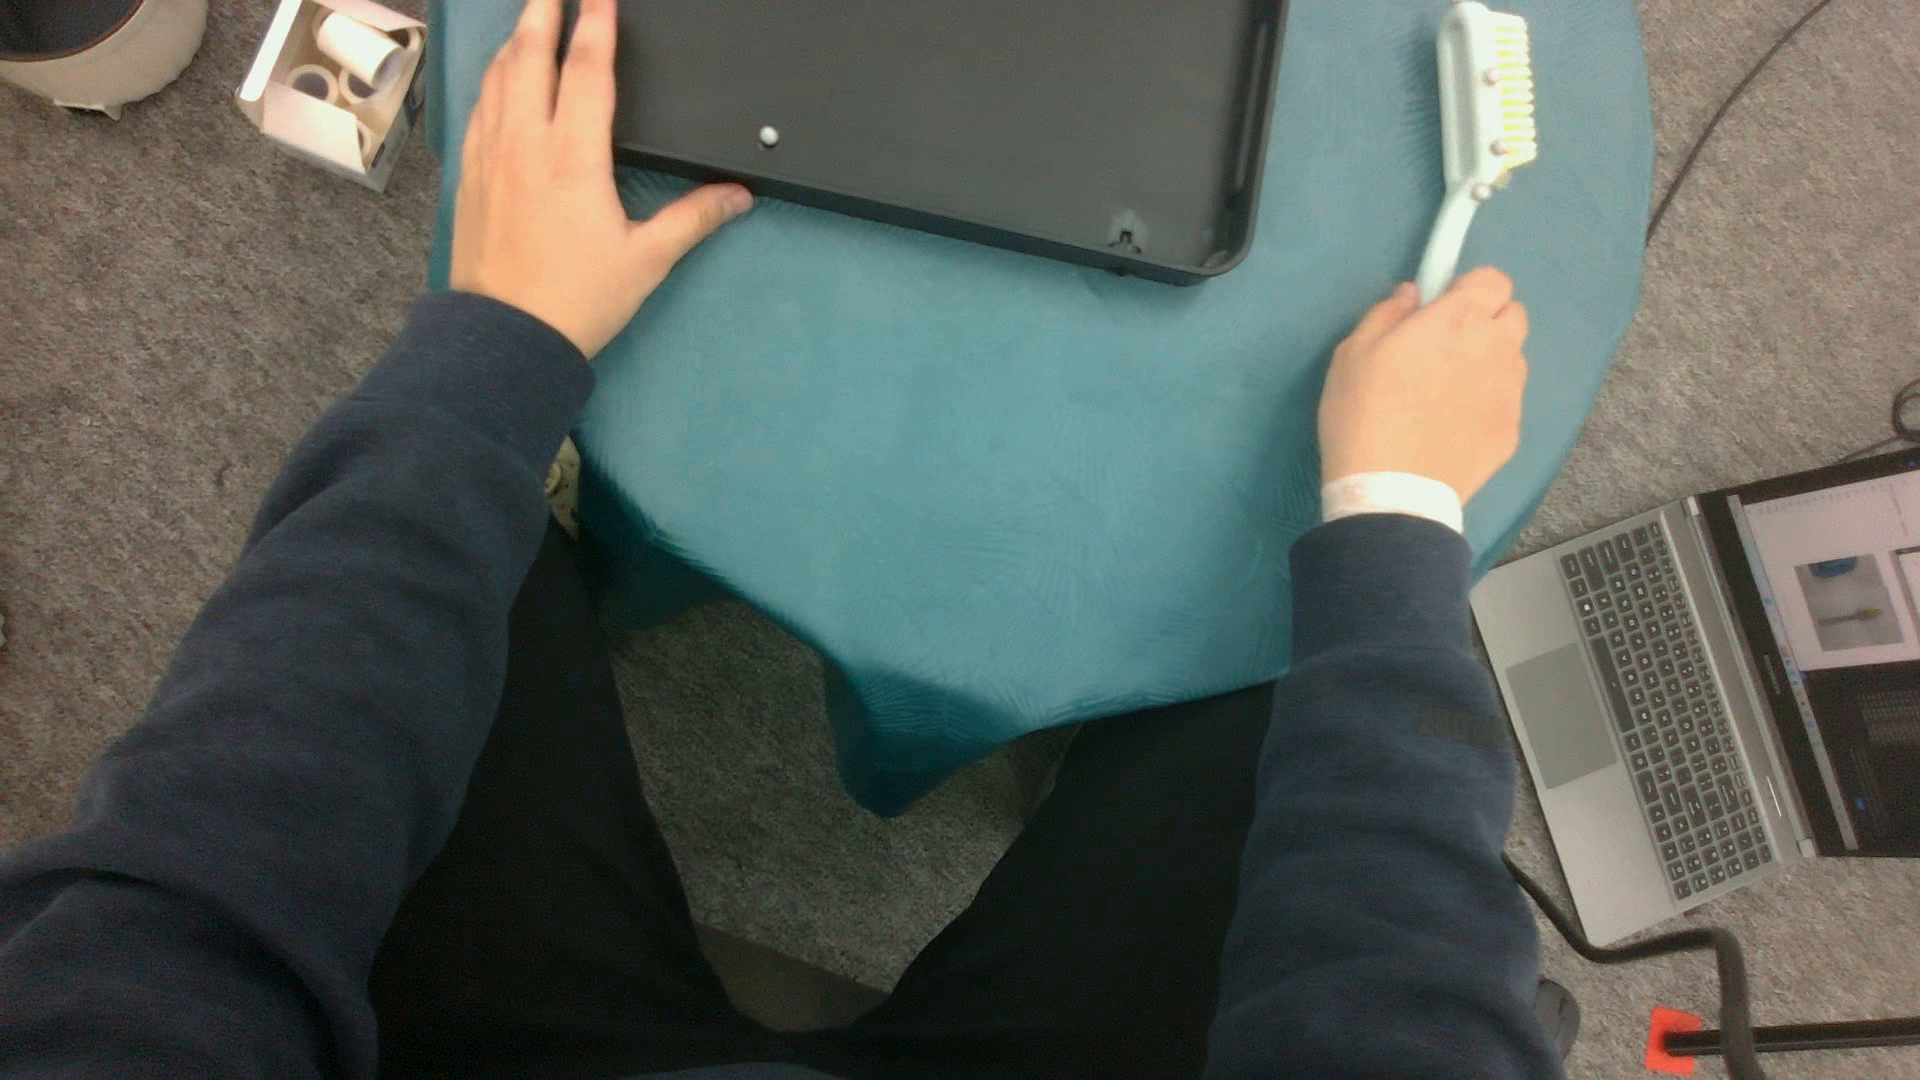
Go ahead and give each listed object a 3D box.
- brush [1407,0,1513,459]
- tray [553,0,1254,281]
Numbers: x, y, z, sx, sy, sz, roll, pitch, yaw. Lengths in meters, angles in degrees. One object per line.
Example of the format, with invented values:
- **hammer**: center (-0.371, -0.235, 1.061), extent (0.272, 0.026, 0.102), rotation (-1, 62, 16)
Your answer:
- **brush**: center (0.248, -0.154, 0.688), extent (0.050, 0.037, 0.229), rotation (7, 84, -27)
- **tray**: center (-0.020, -0.230, 0.654), extent (0.318, 0.037, 0.184), rotation (6, 86, -9)
